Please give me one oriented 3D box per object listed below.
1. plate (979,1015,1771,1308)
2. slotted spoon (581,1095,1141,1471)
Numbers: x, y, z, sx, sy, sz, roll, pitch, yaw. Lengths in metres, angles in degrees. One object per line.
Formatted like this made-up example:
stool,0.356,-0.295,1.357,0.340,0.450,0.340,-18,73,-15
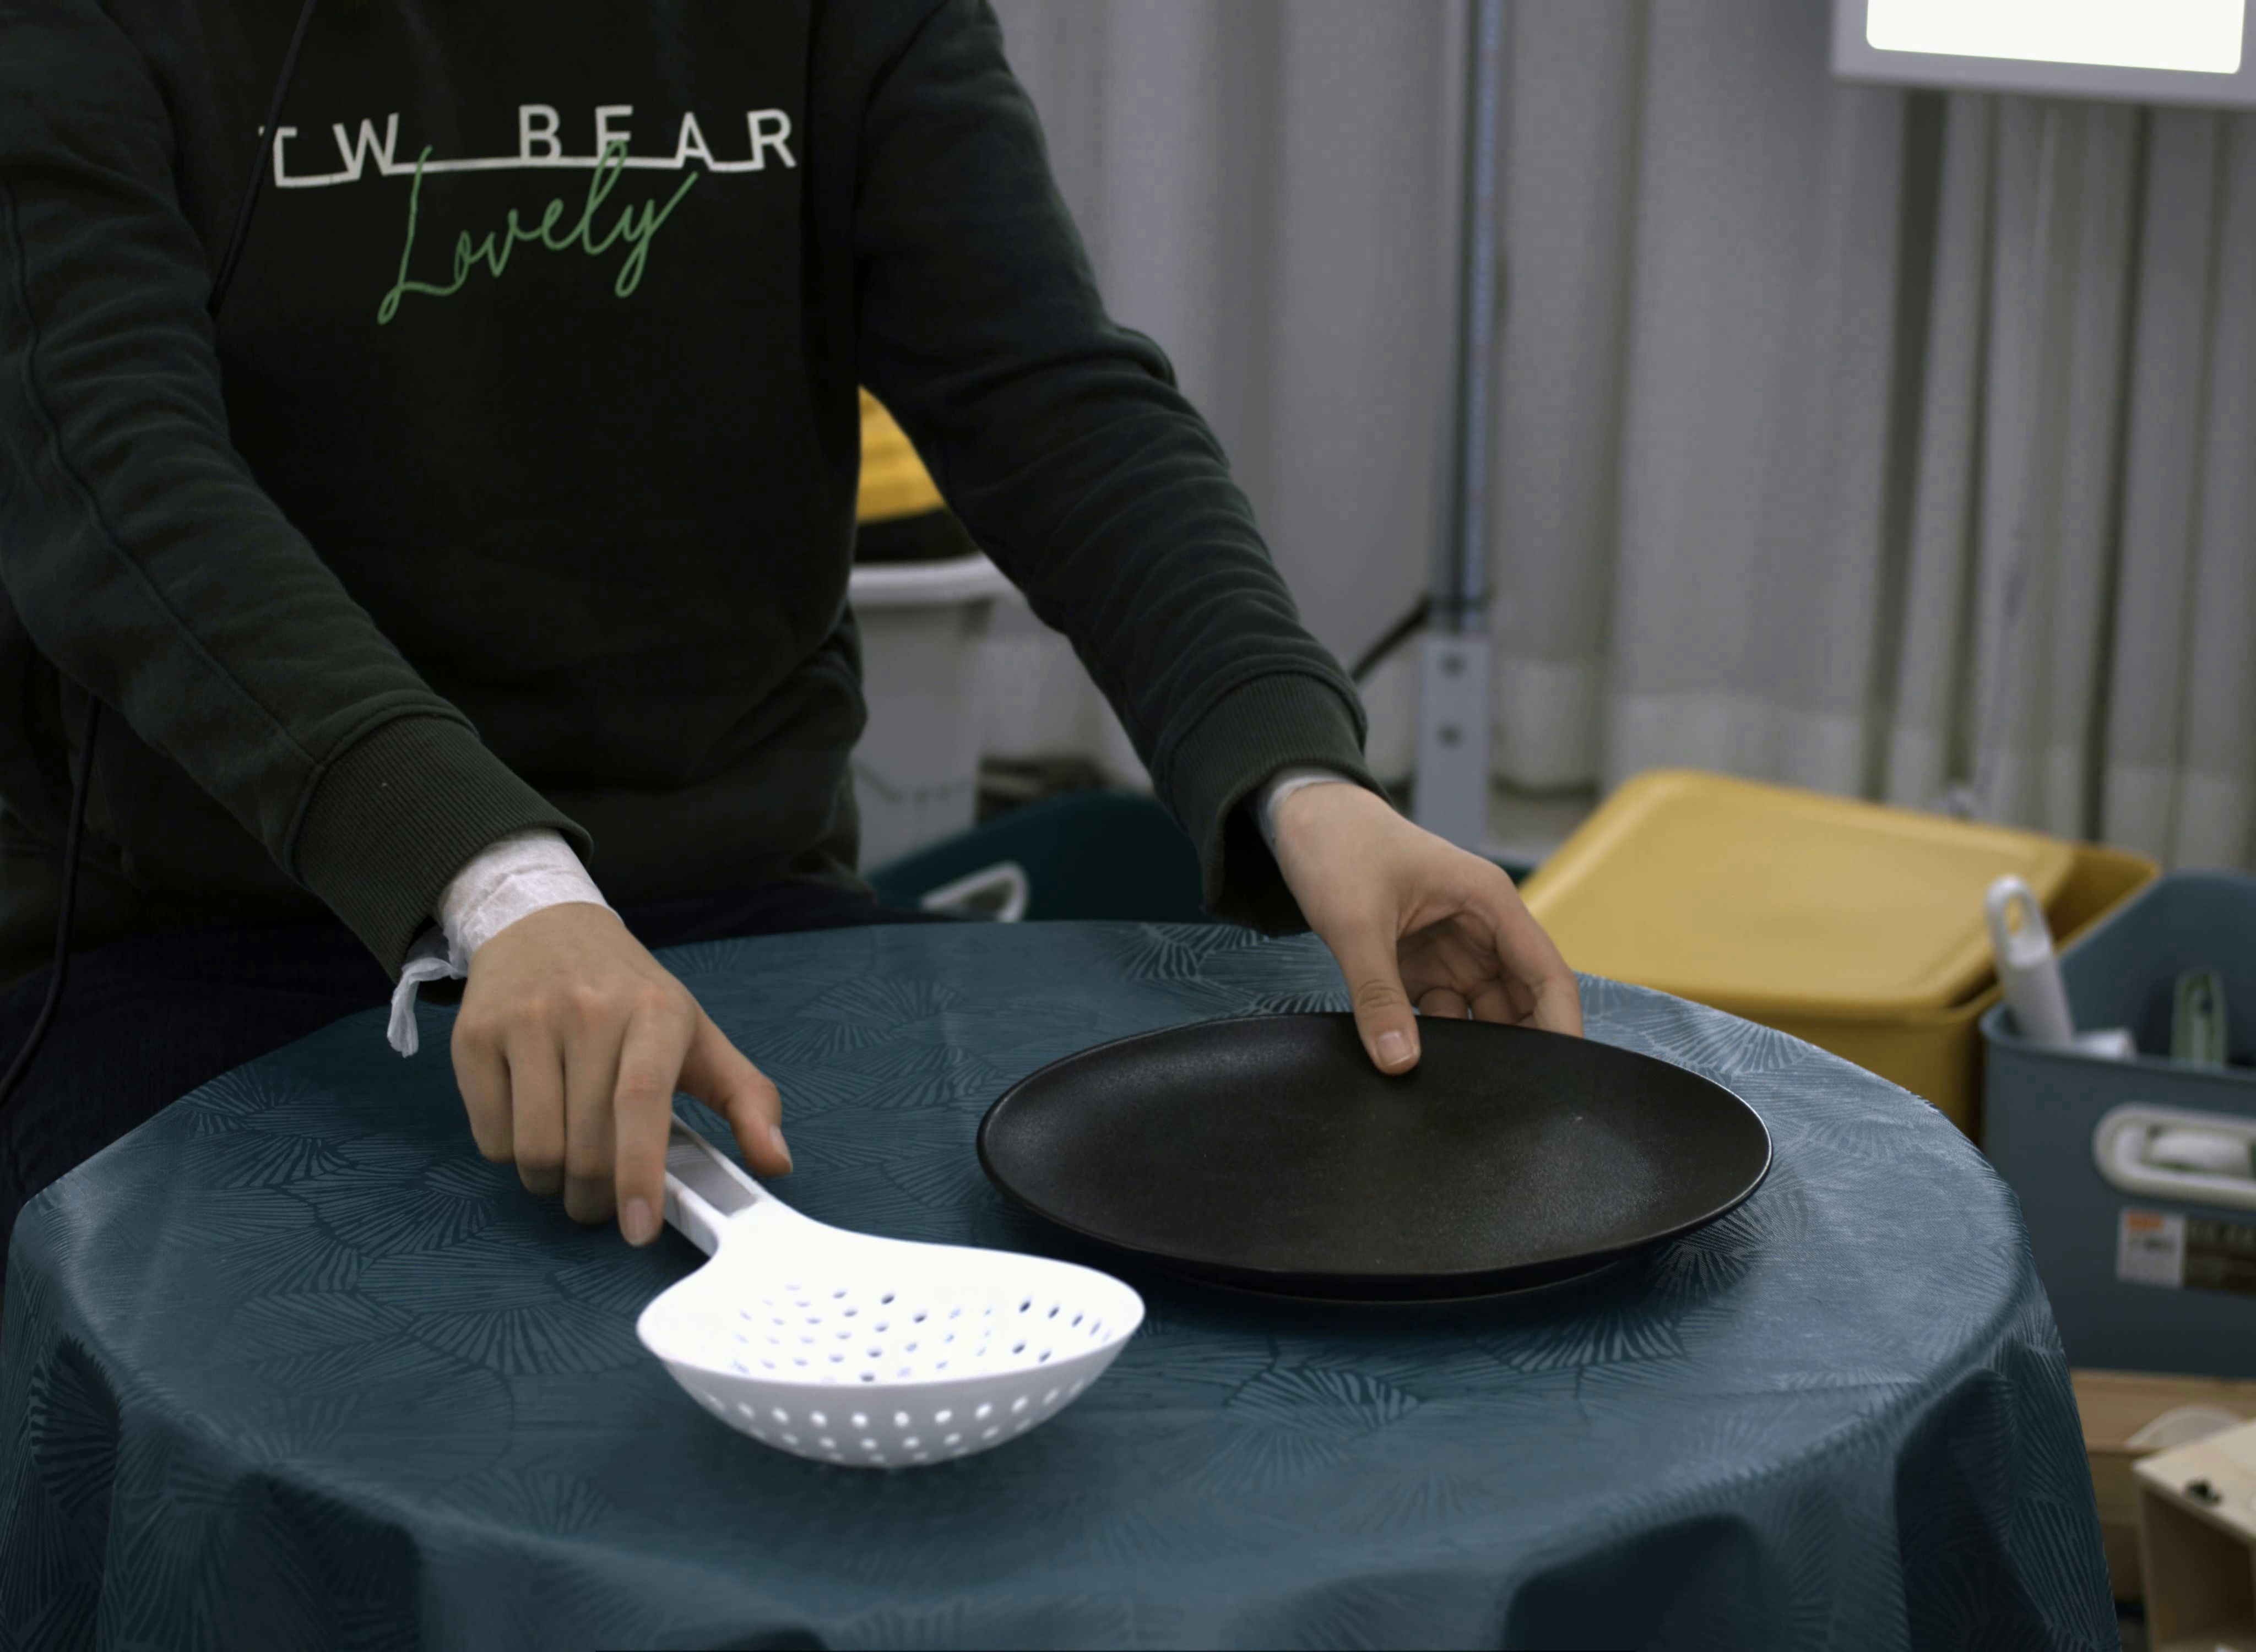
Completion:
plate,0.075,0.104,1.615,0.243,0.023,0.243,1,16,0
slotted spoon,-0.102,0.121,1.509,0.136,0.046,0.346,-4,16,-20
